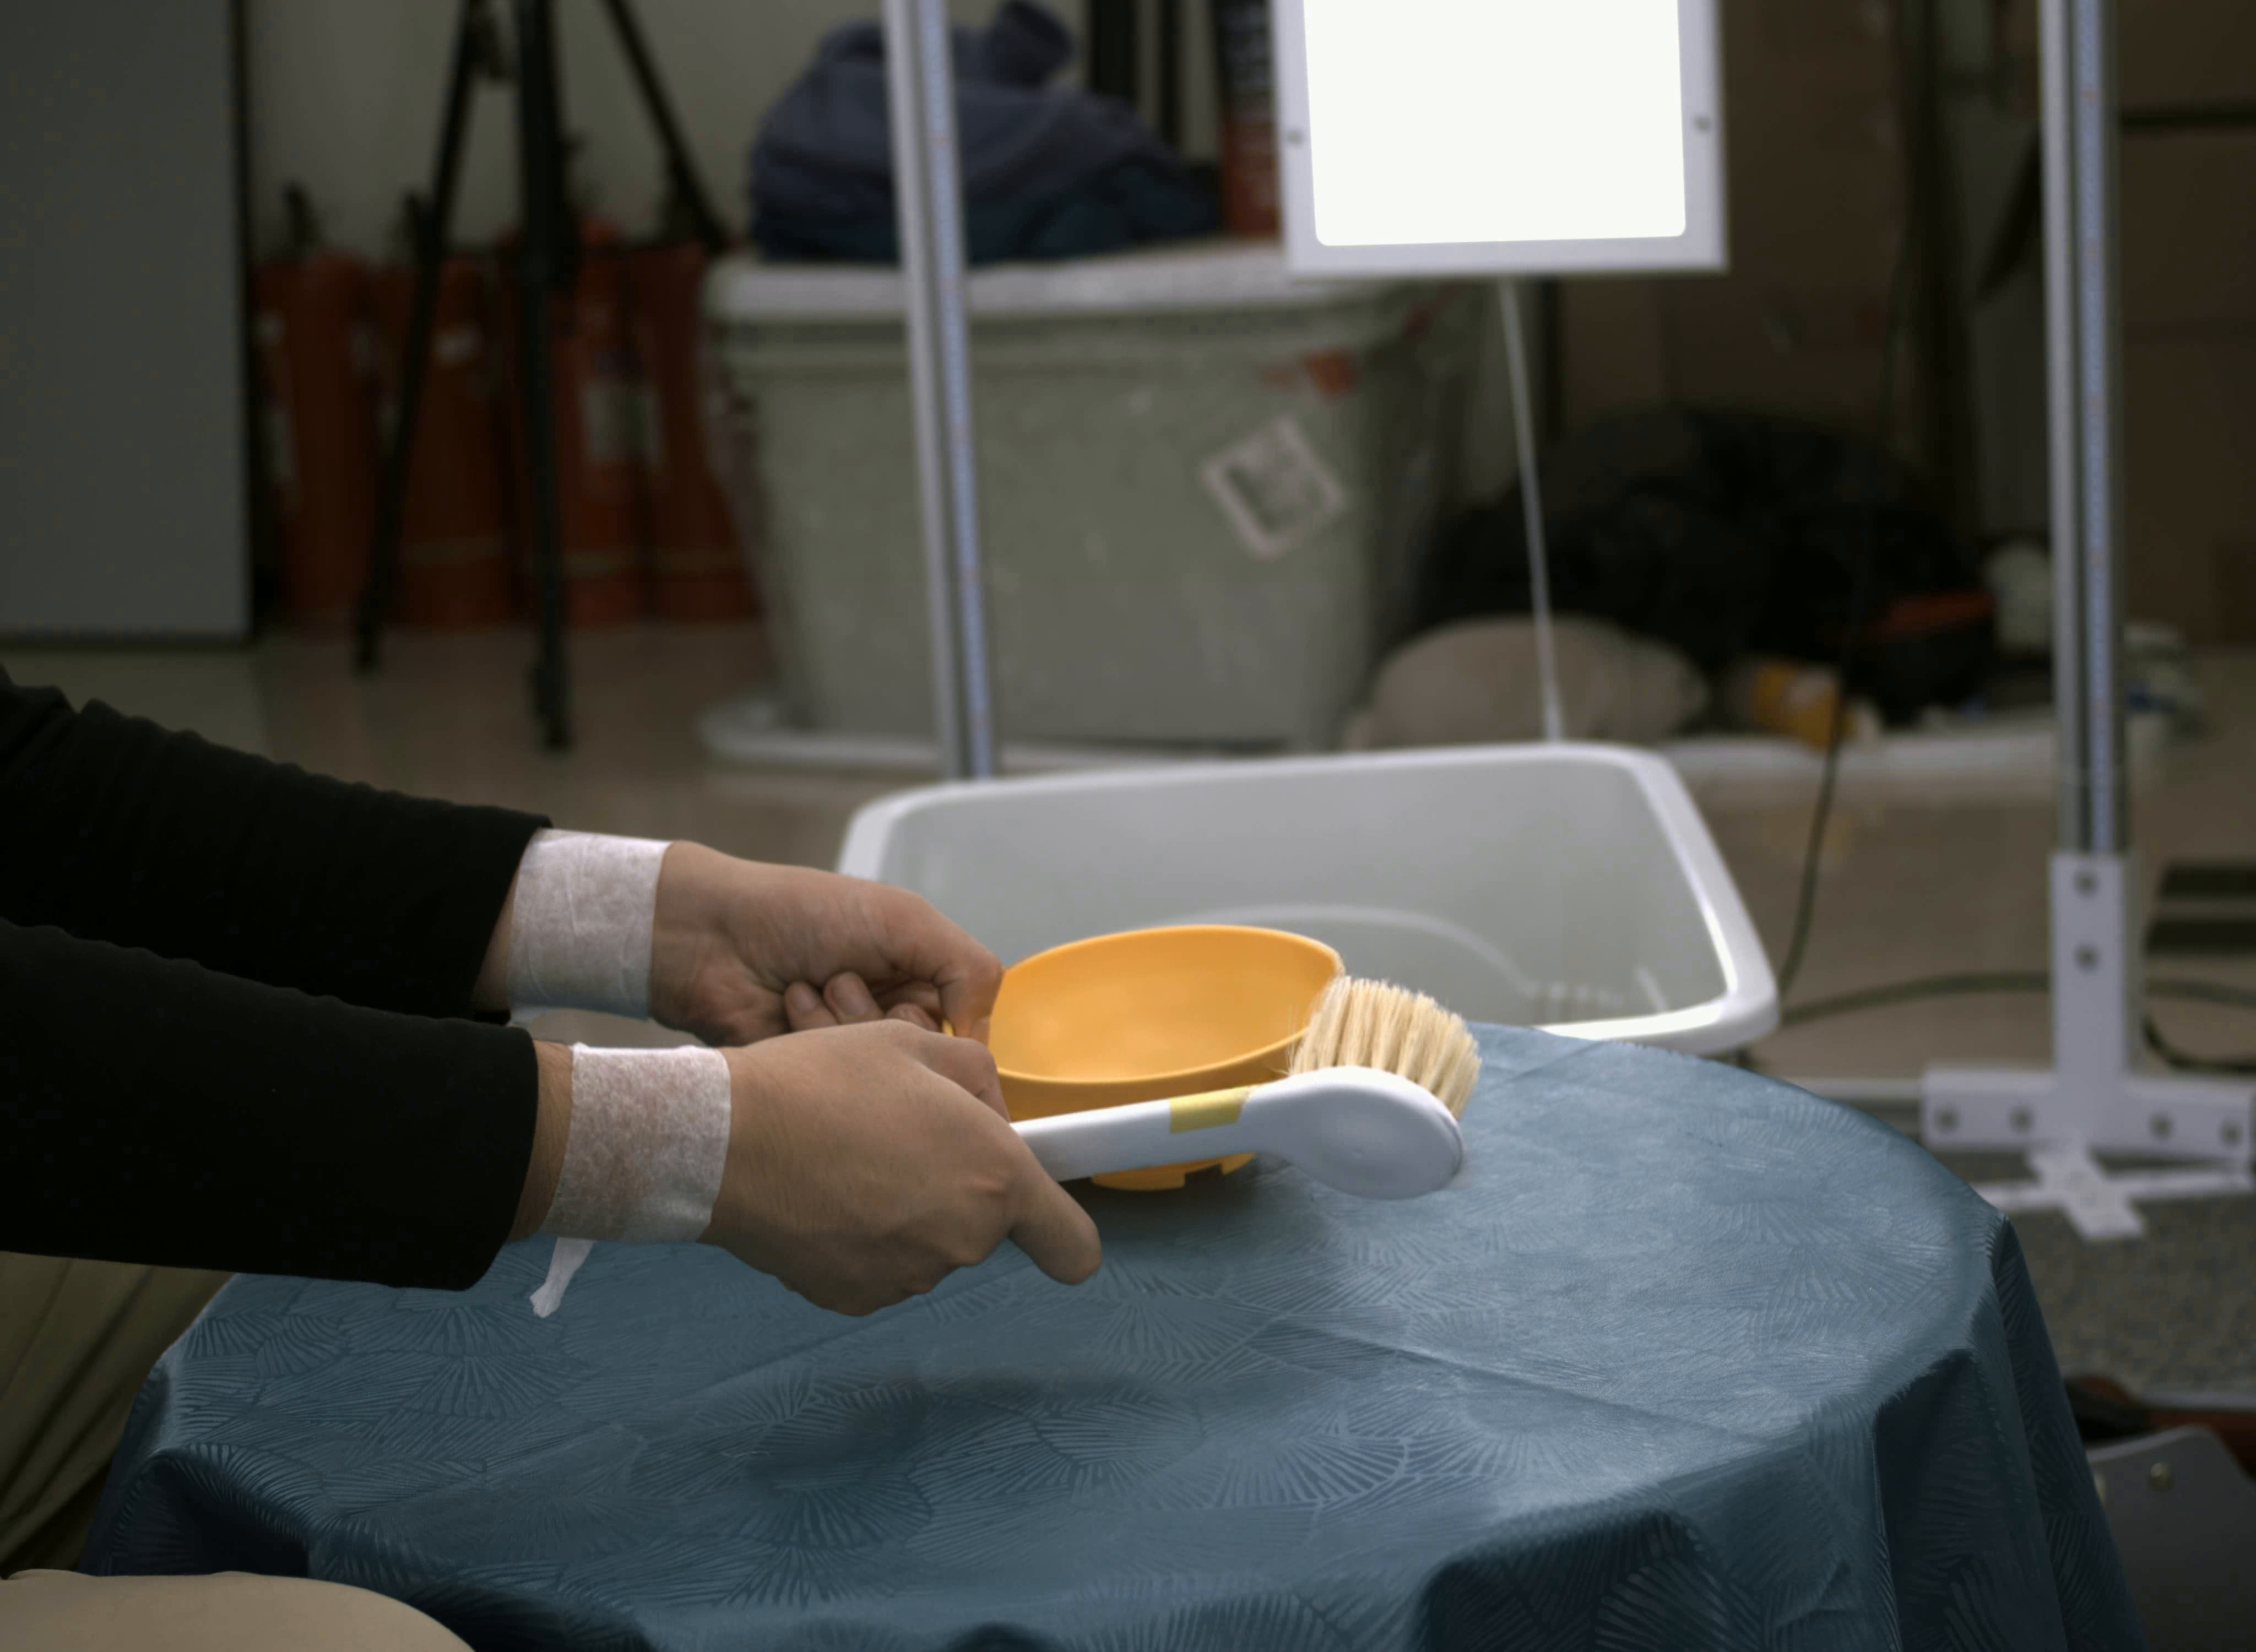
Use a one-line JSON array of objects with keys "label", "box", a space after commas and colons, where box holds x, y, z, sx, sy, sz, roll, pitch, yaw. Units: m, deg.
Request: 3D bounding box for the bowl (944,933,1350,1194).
[{"label": "bowl", "box": [0.011, 0.088, 1.916, 0.145, 0.060, 0.145, -9, 18, 1]}]

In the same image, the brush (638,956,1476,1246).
[{"label": "brush", "box": [-0.021, 0.089, 1.714, 0.265, 0.069, 0.056, -6, 47, -2]}]
